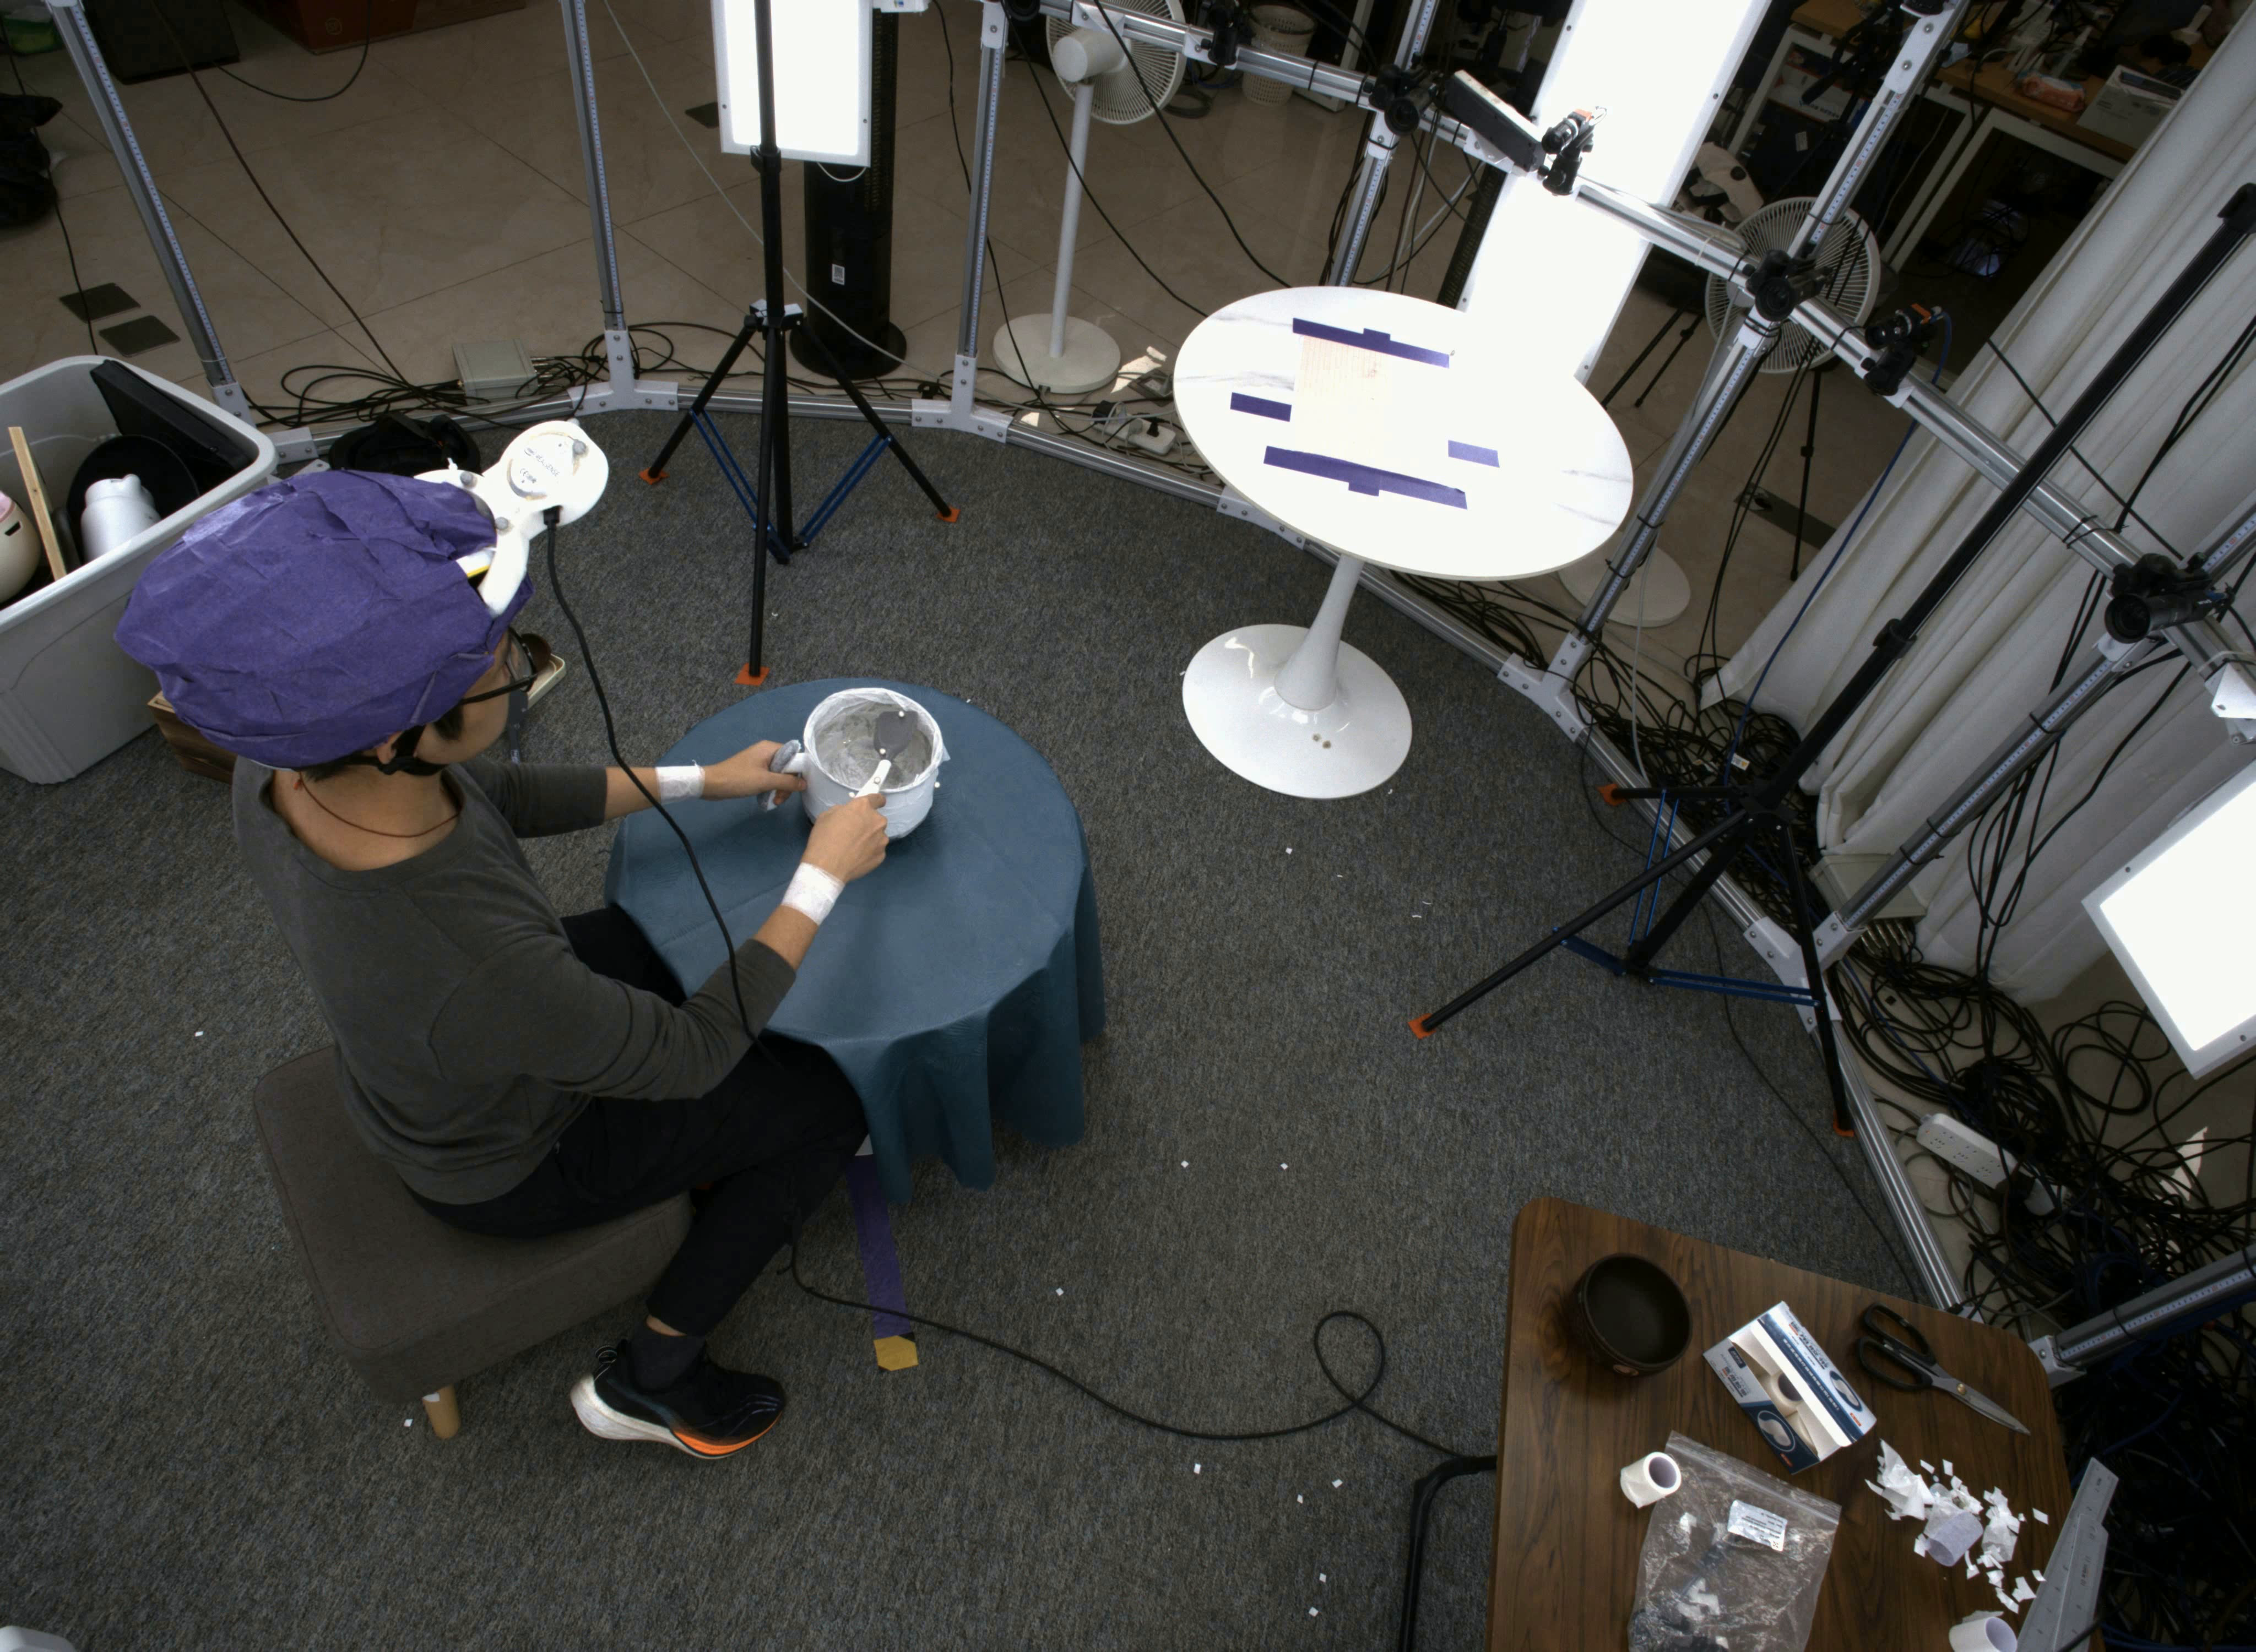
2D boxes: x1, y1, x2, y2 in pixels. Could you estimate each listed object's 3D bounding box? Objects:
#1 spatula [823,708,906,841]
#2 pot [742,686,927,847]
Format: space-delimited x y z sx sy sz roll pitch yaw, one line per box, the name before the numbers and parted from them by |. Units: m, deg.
spatula | -0.328 -0.072 1.609 0.058 0.033 0.282 -4 32 6
pot | -0.386 -0.070 1.699 0.235 0.139 0.174 -8 57 -25
